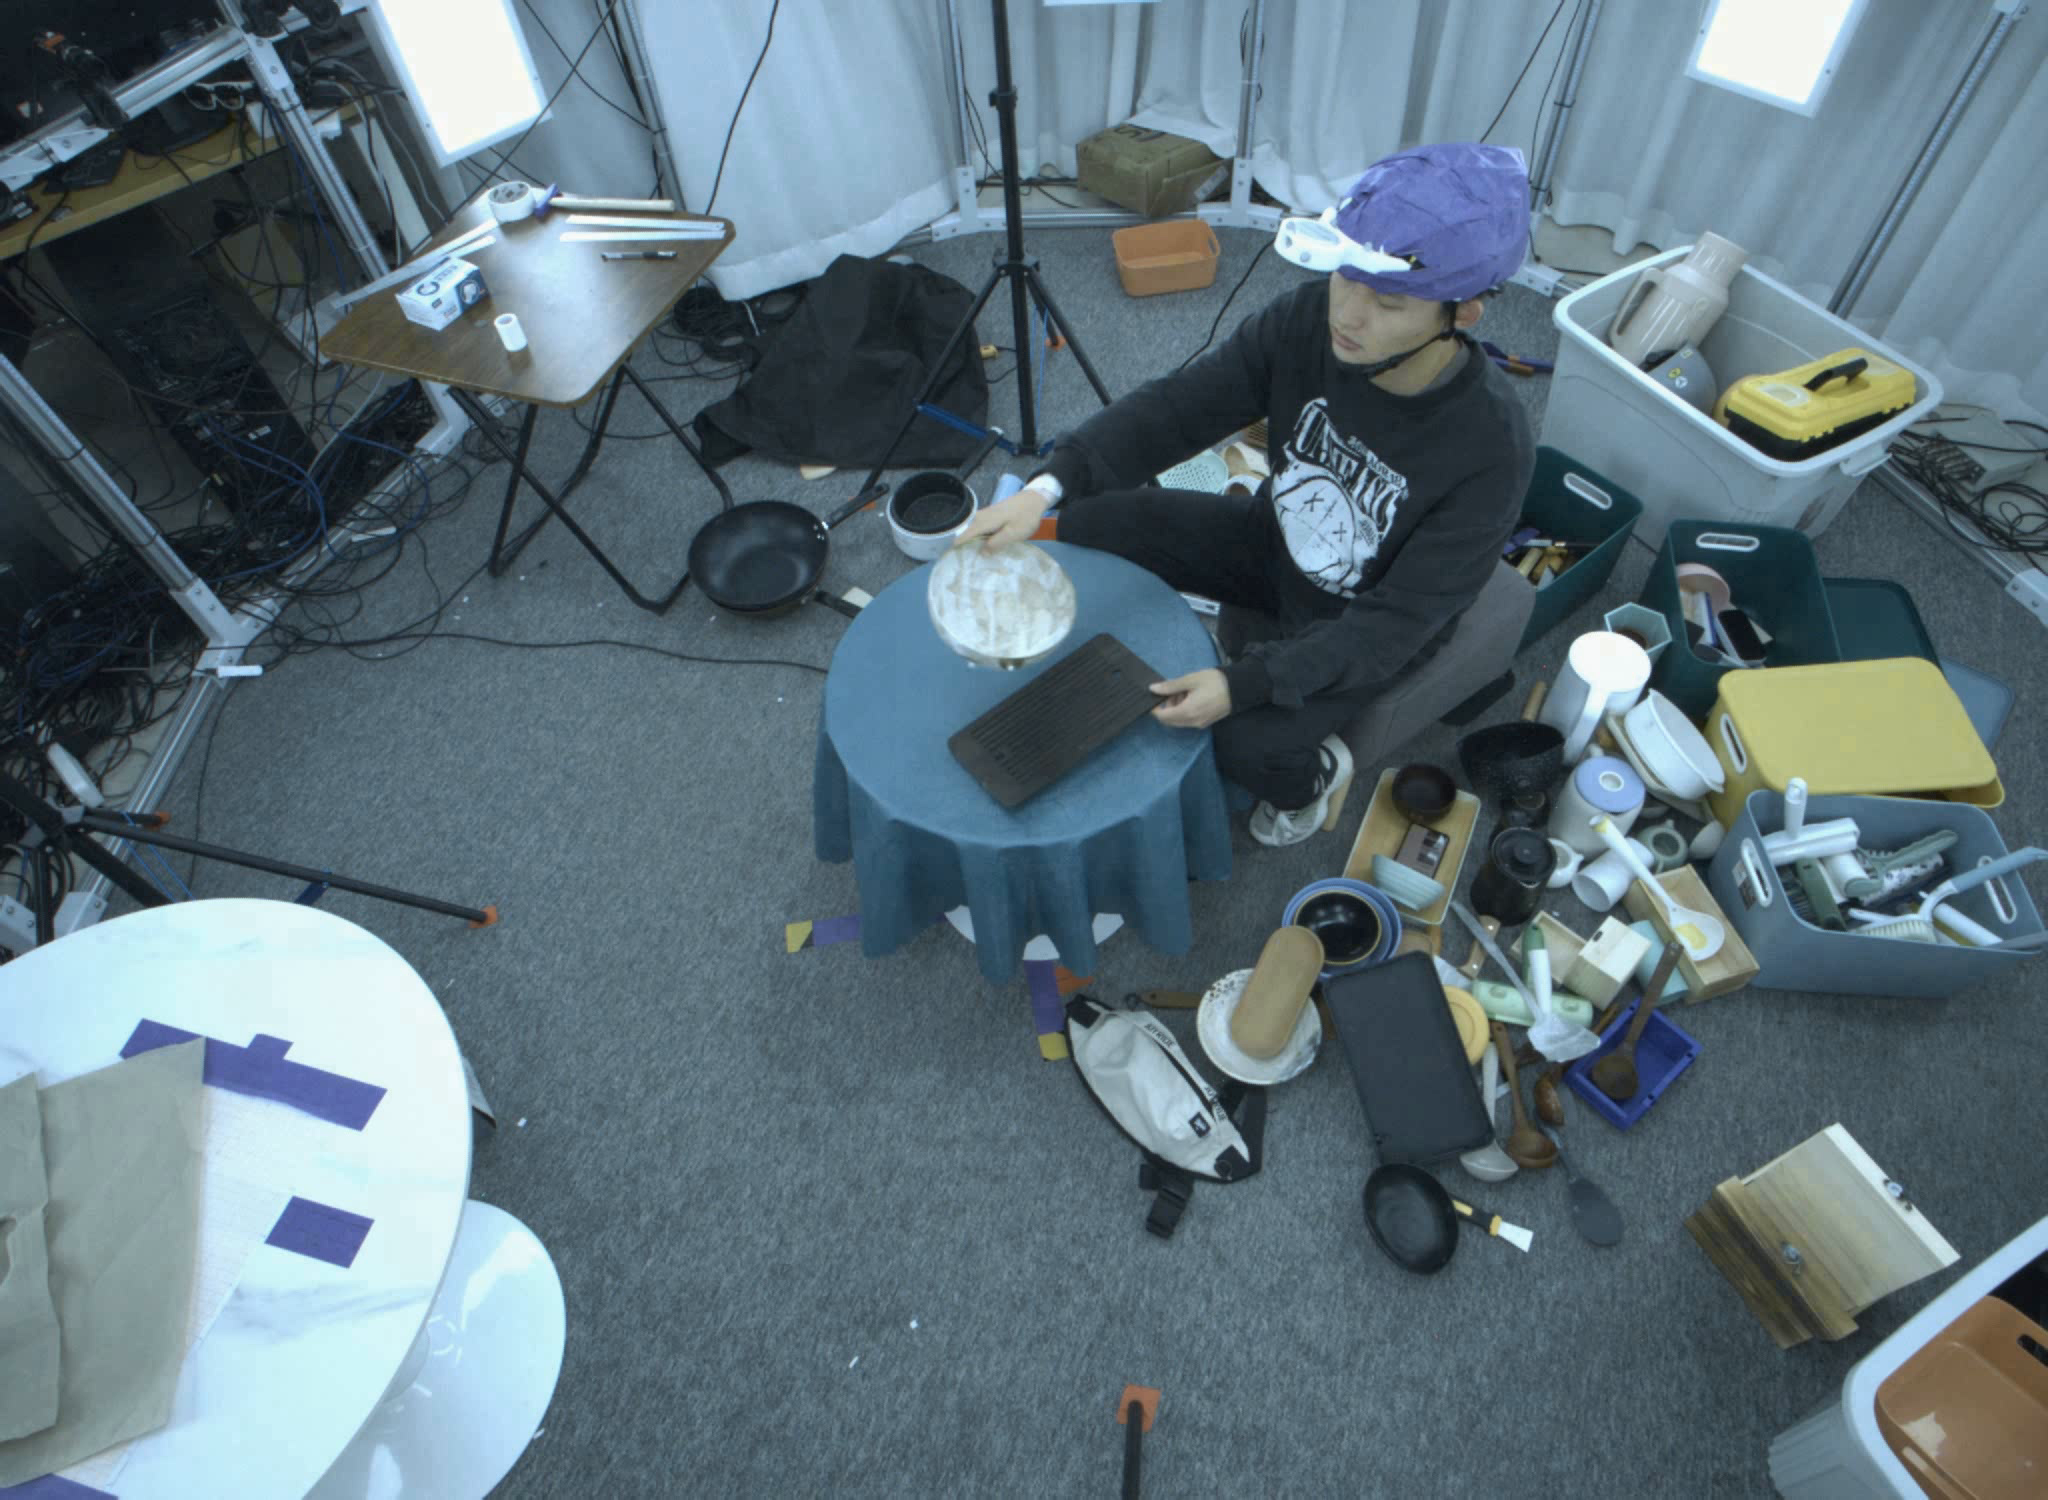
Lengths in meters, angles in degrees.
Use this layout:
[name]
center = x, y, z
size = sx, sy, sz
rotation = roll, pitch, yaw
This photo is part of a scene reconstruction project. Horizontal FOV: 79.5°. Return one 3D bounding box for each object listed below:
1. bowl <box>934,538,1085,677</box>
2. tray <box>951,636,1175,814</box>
[bowl]
center = -0.025, -0.179, 1.679
size = 0.217, 0.094, 0.213
rotation = 7, 61, -12
[tray]
center = 0.057, -0.039, 1.787
size = 0.307, 0.019, 0.166
rotation = -36, 54, -15
